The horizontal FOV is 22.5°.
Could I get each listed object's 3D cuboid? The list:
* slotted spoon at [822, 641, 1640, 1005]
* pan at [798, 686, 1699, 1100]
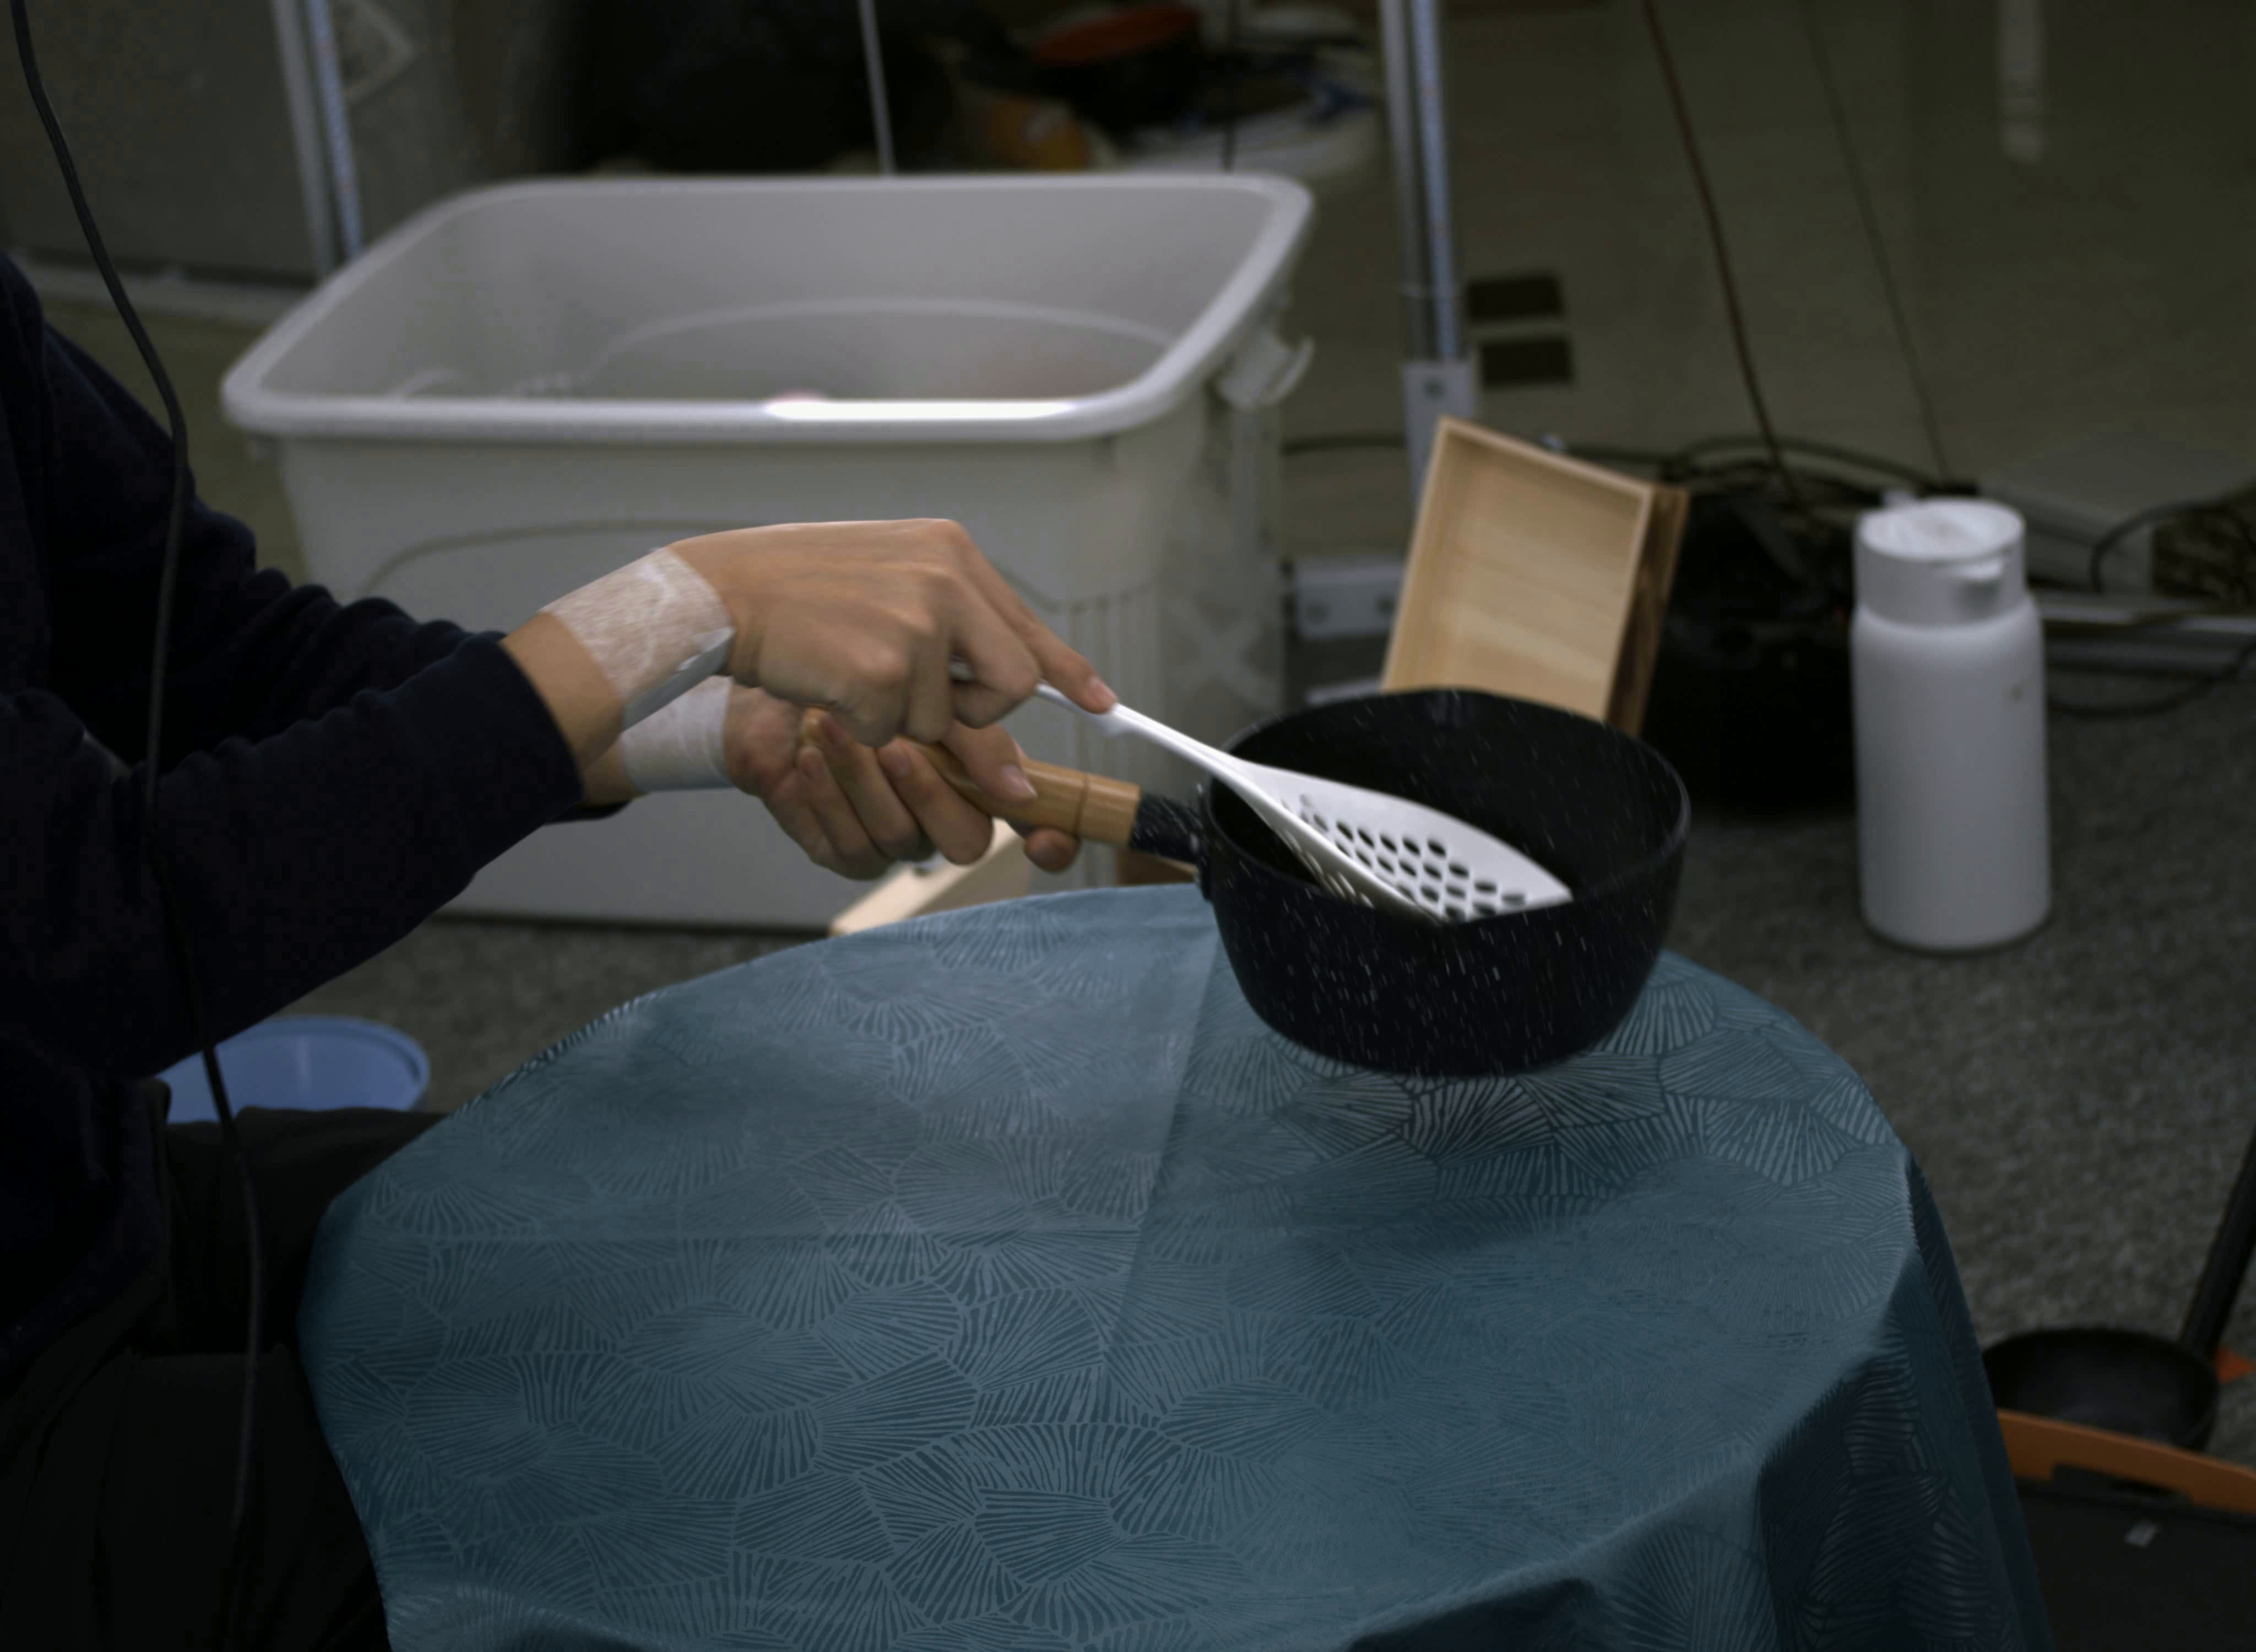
[{"bbox_3d":[0.040,-0.008,2.118,0.350,0.051,0.135,30,16,-24],"label":"slotted spoon"},{"bbox_3d":[0.043,0.016,2.158,0.342,0.110,0.204,4,29,2],"label":"pan"}]
